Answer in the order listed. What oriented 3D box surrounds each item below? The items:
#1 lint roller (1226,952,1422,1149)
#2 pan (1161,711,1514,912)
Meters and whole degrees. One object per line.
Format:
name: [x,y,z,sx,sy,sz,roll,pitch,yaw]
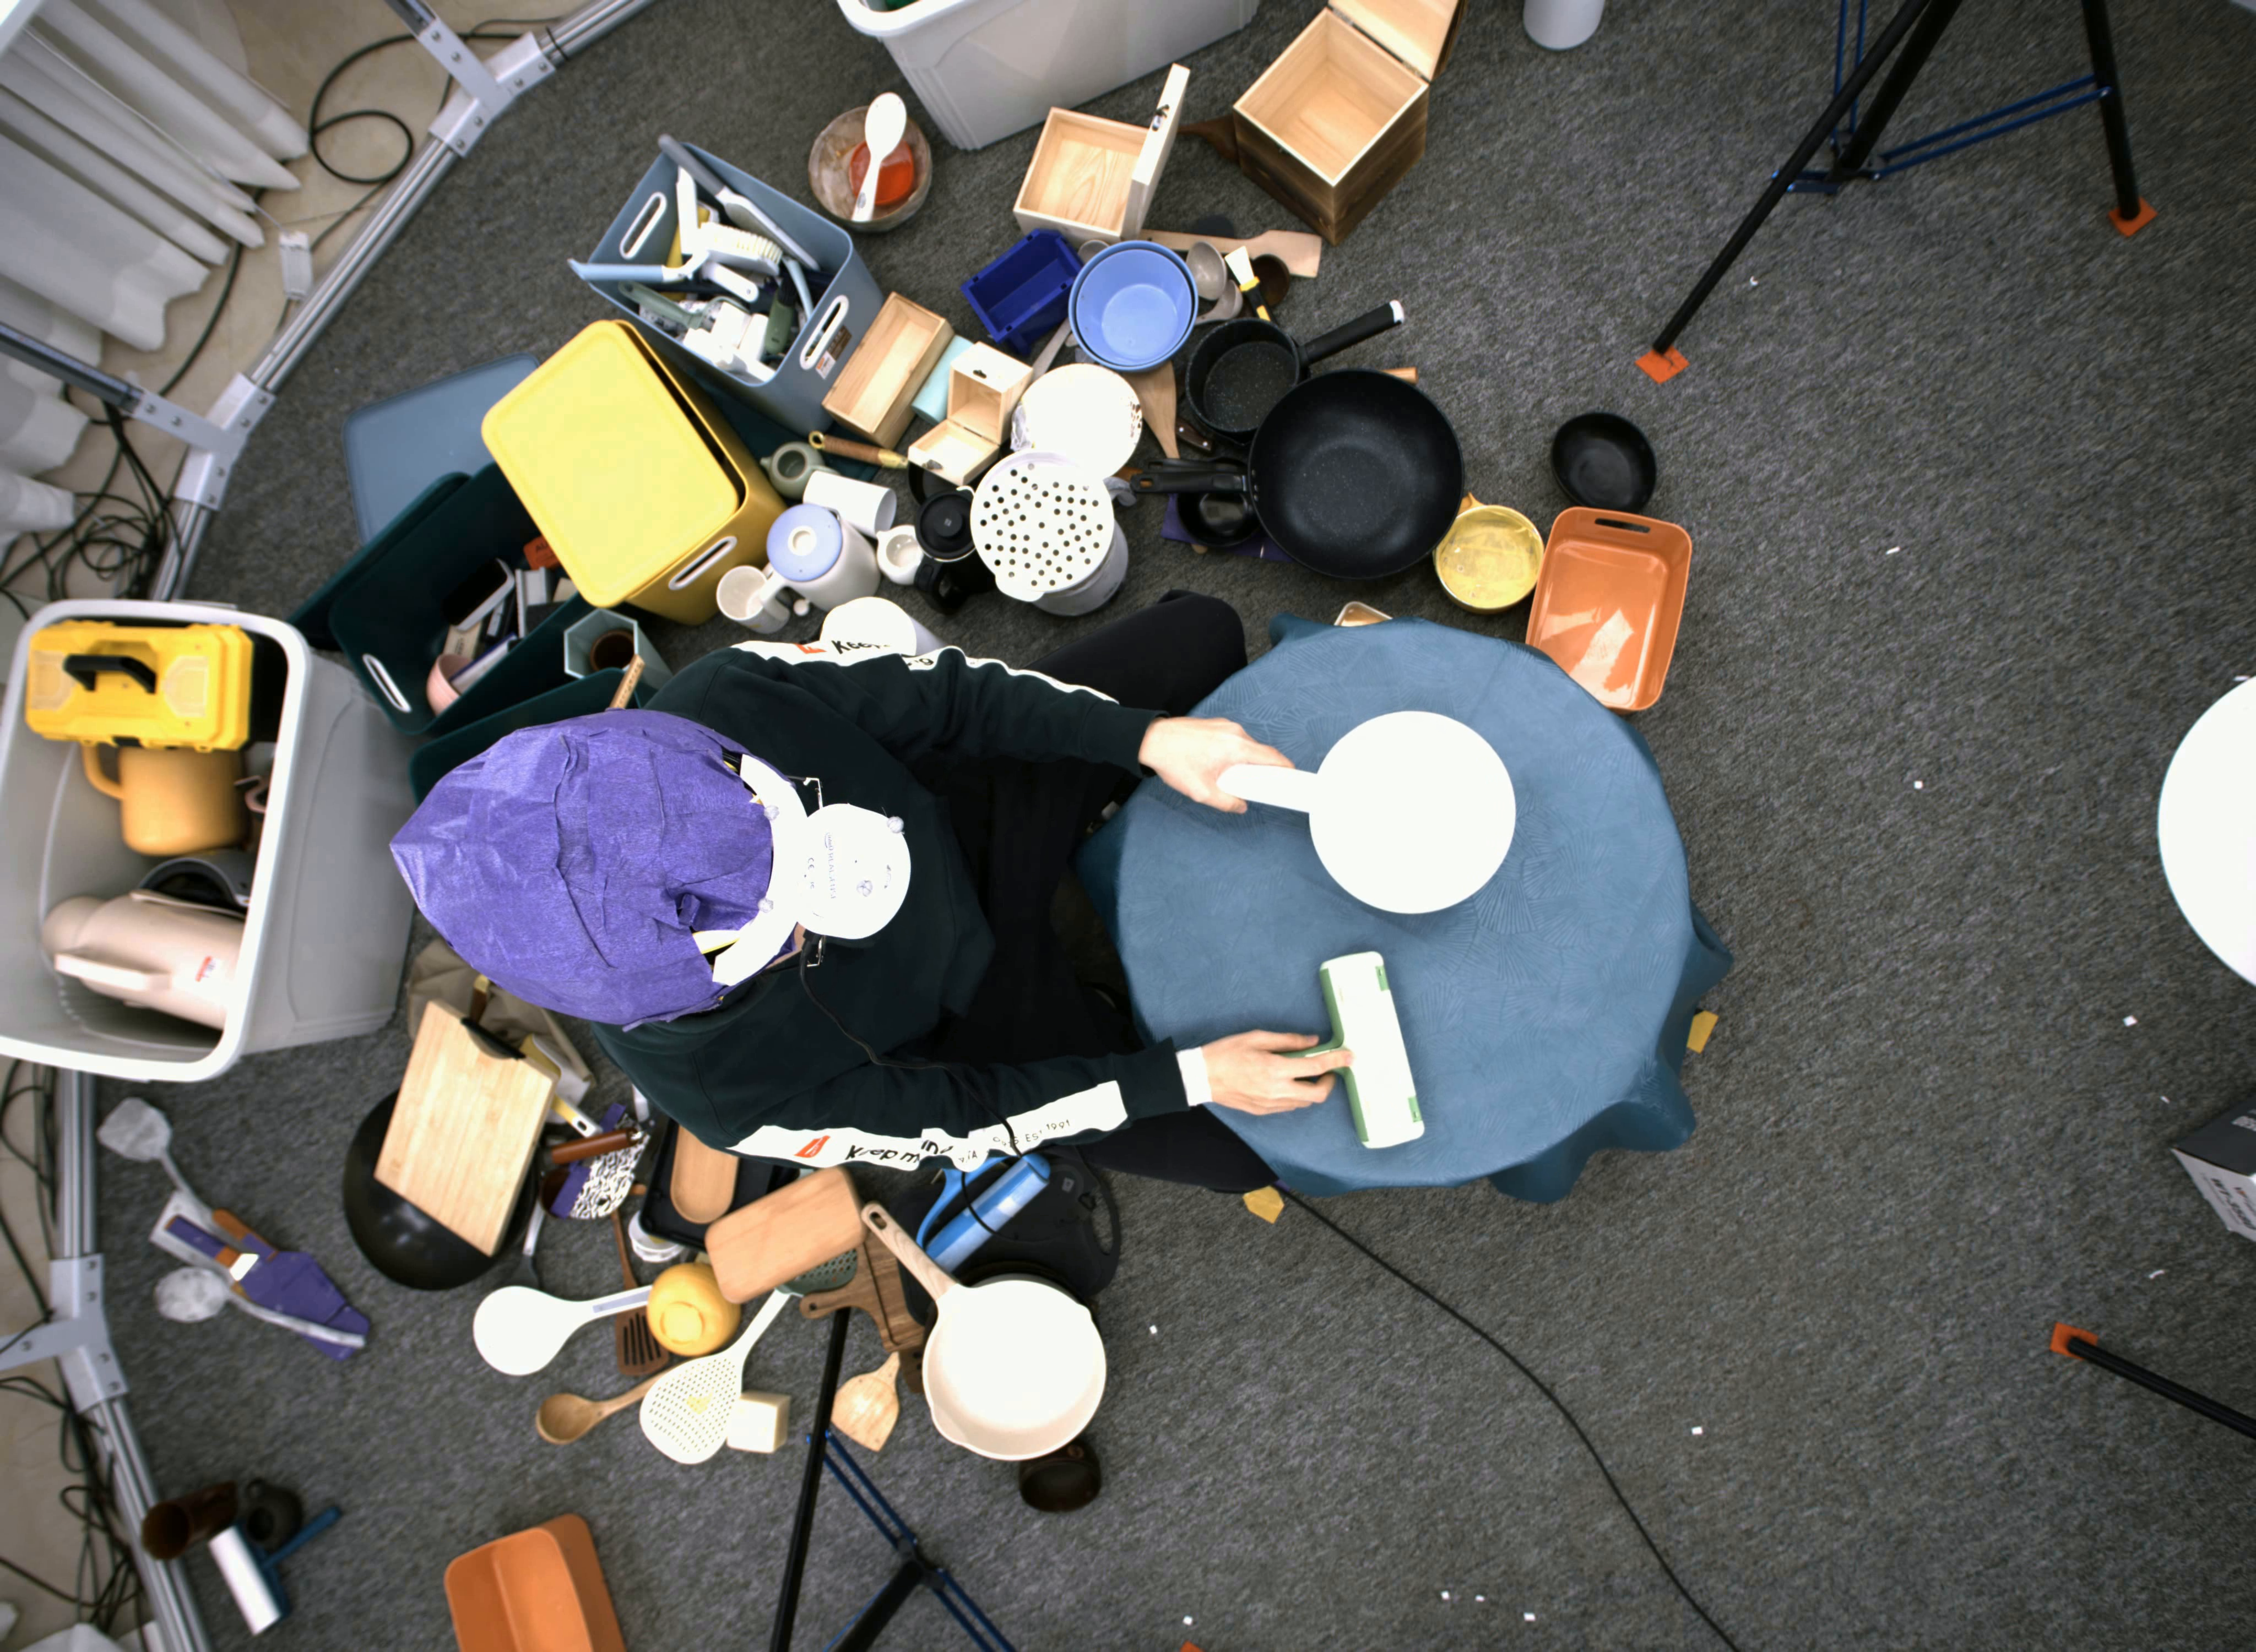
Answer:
lint roller: [0.191,0.239,1.417,0.184,0.082,0.197,-12,83,2]
pan: [0.213,-0.029,1.420,0.355,0.102,0.201,13,90,12]
